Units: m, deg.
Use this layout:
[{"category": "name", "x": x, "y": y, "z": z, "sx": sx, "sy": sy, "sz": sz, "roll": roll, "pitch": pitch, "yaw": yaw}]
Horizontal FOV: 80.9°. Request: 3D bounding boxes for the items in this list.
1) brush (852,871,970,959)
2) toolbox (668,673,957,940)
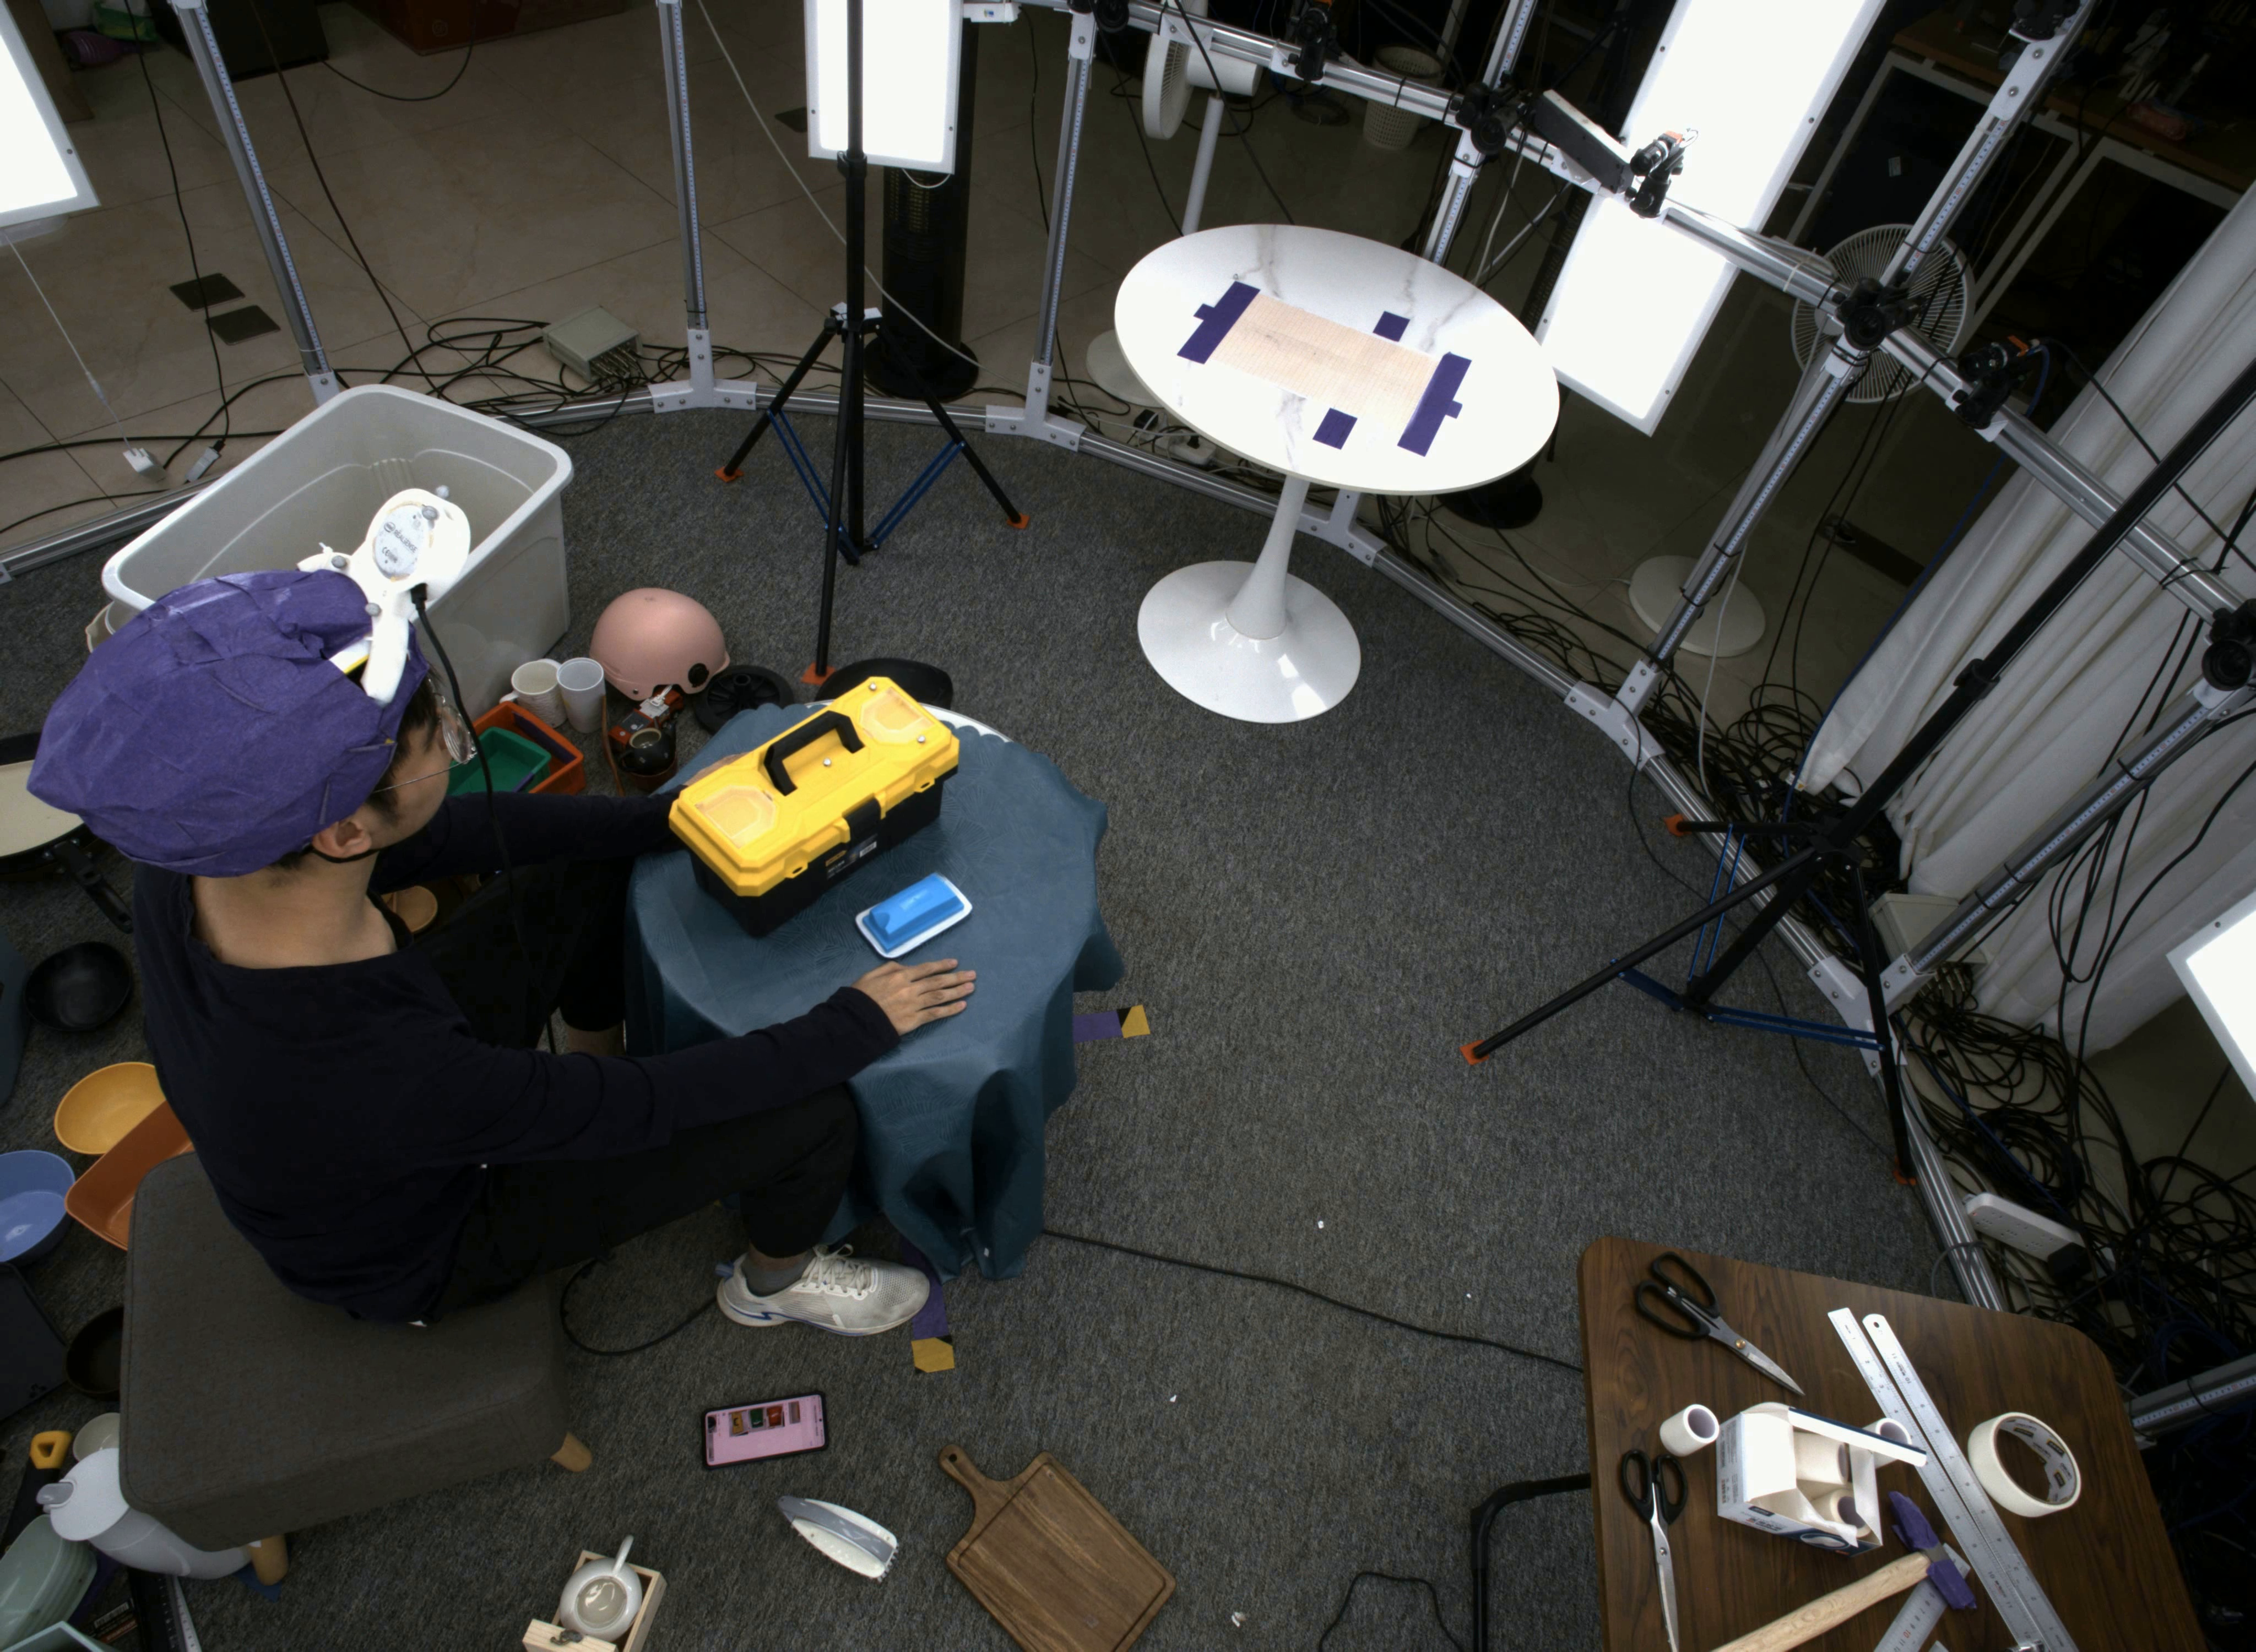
[{"category": "brush", "x": -0.274, "y": 0.104, "z": 1.647, "sx": 0.144, "sy": 0.057, "sz": 0.081, "roll": -27, "pitch": 60, "yaw": -31}, {"category": "toolbox", "x": -0.389, "y": -0.025, "z": 1.641, "sx": 0.177, "sy": 0.176, "sz": 0.352, "roll": 39, "pitch": 55, "yaw": 18}]
